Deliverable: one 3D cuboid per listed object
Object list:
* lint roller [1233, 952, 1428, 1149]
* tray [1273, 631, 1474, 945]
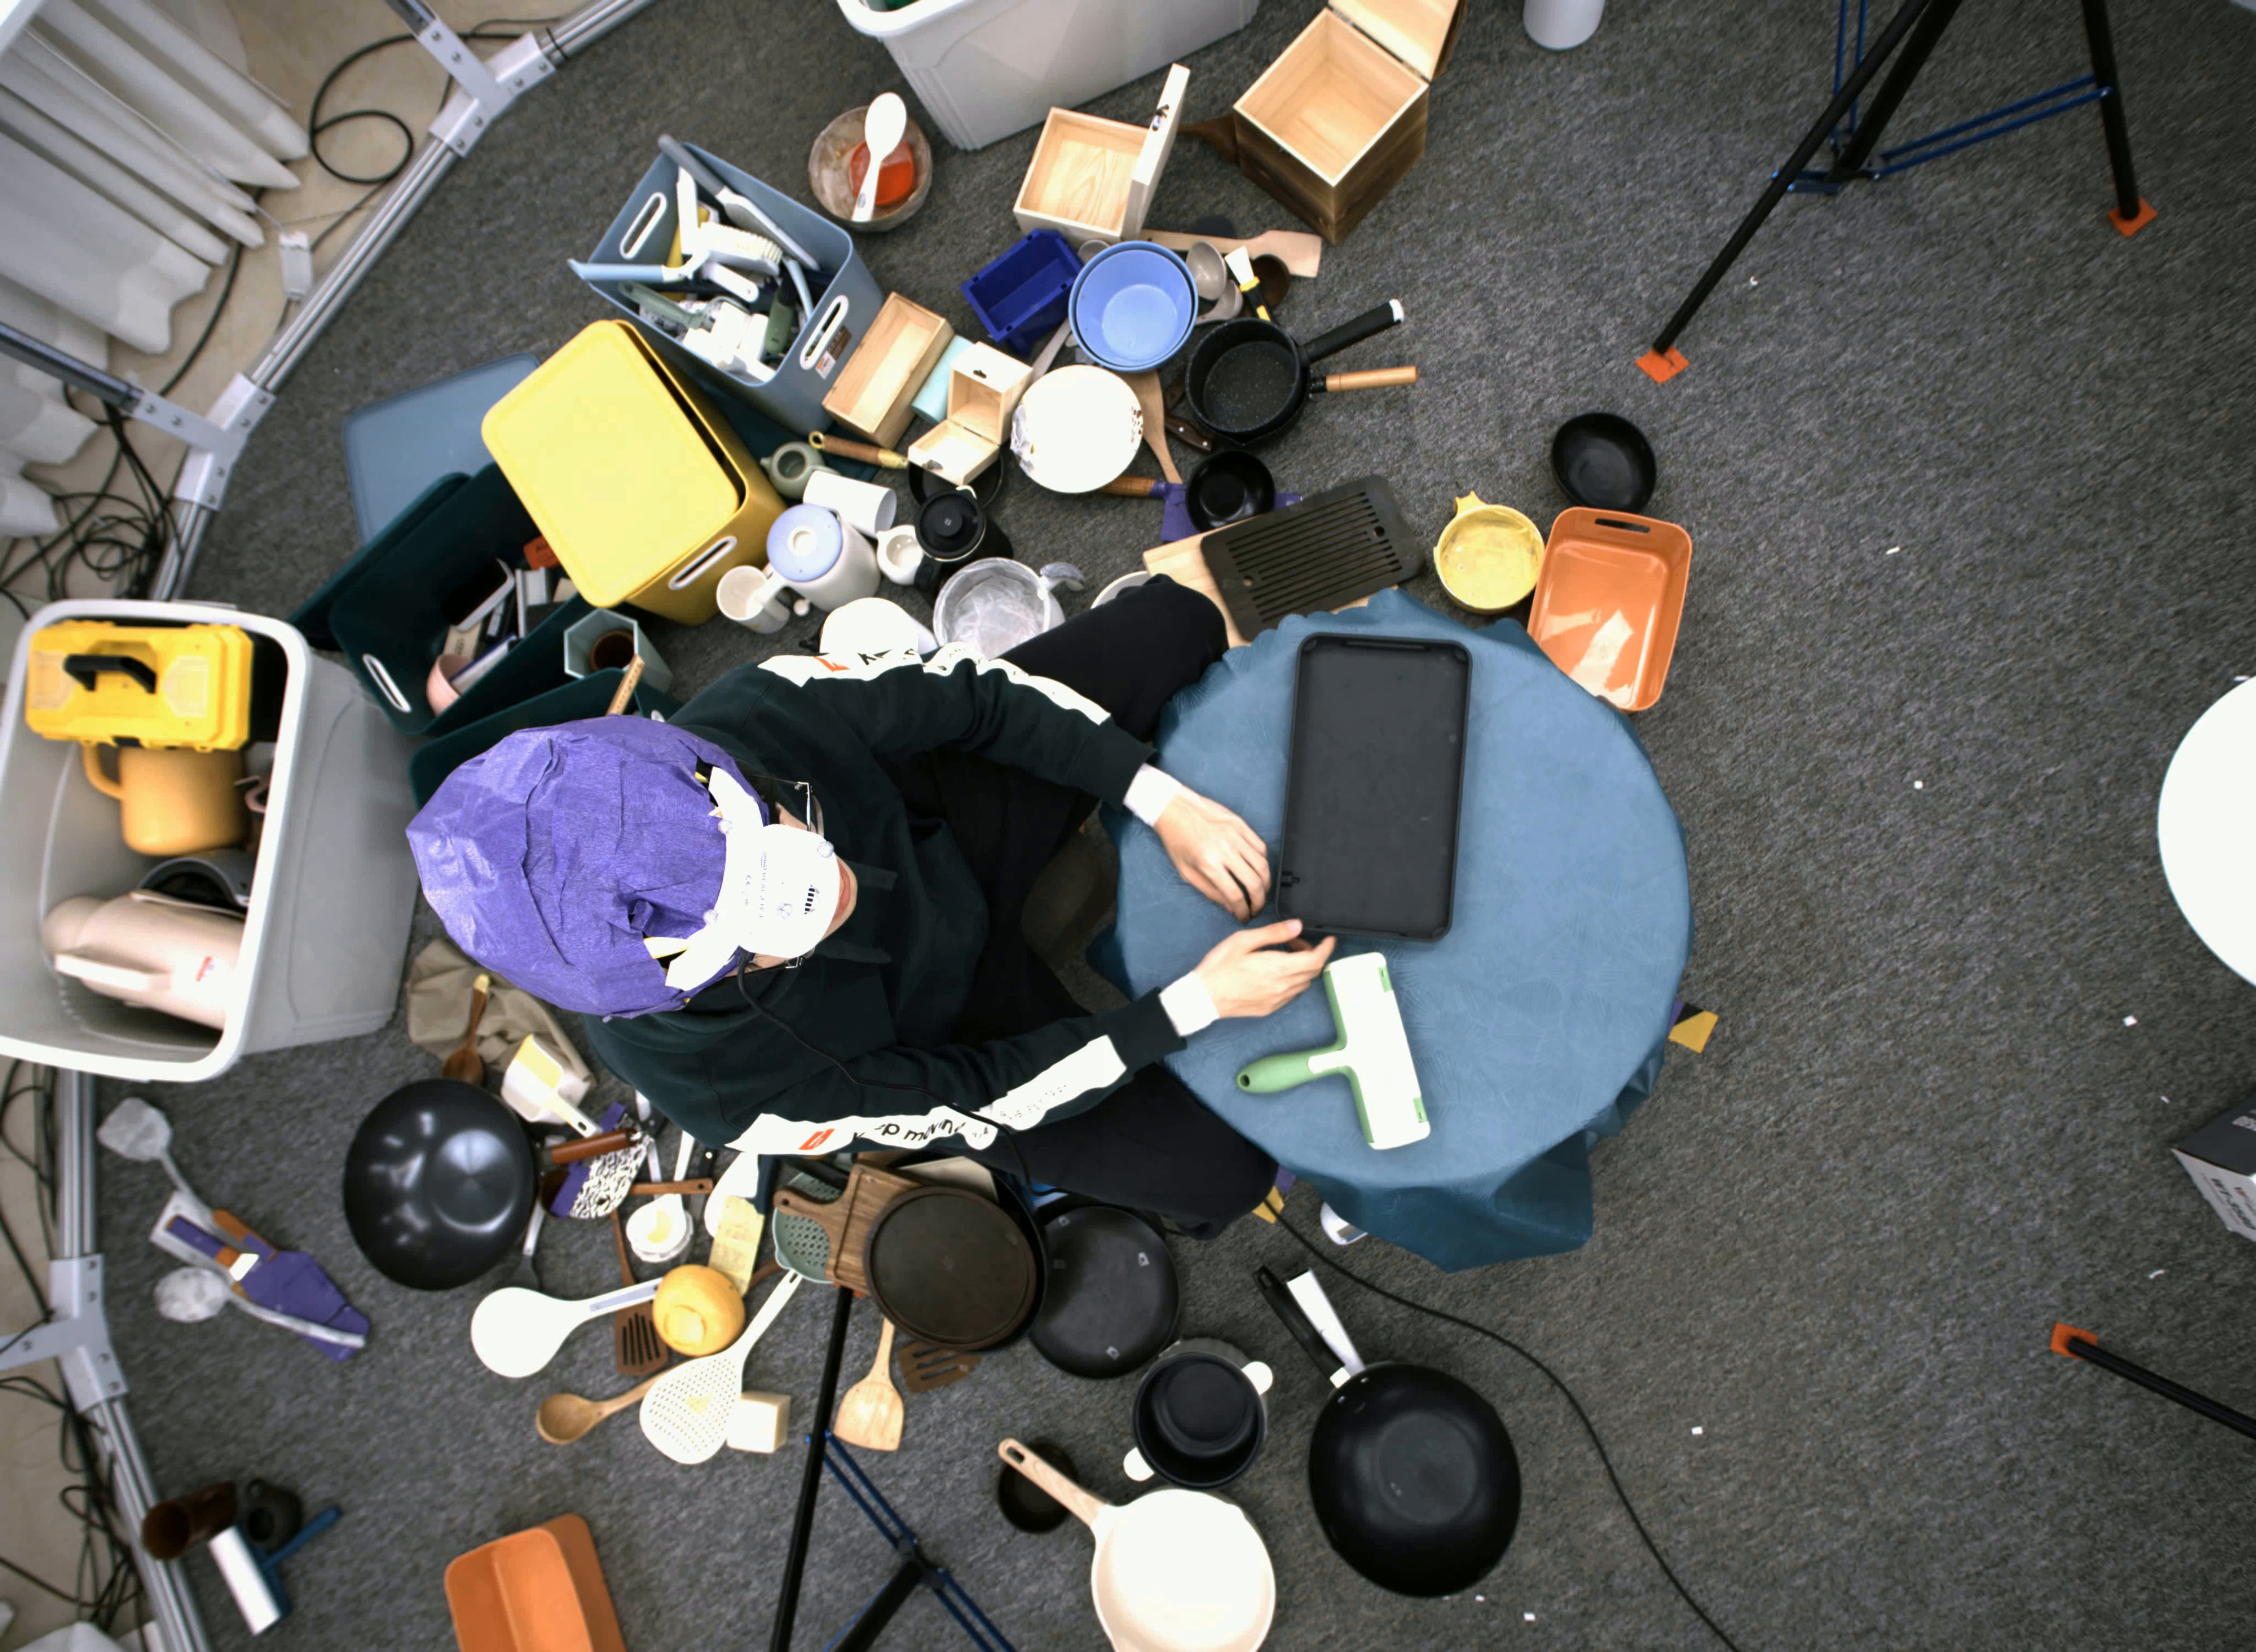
[{"bbox_3d":[0.195,0.242,1.420,0.184,0.082,0.197,-14,84,6],"label":"lint roller"},{"bbox_3d":[0.257,-0.042,1.445,0.185,0.037,0.317,6,88,11],"label":"tray"}]
